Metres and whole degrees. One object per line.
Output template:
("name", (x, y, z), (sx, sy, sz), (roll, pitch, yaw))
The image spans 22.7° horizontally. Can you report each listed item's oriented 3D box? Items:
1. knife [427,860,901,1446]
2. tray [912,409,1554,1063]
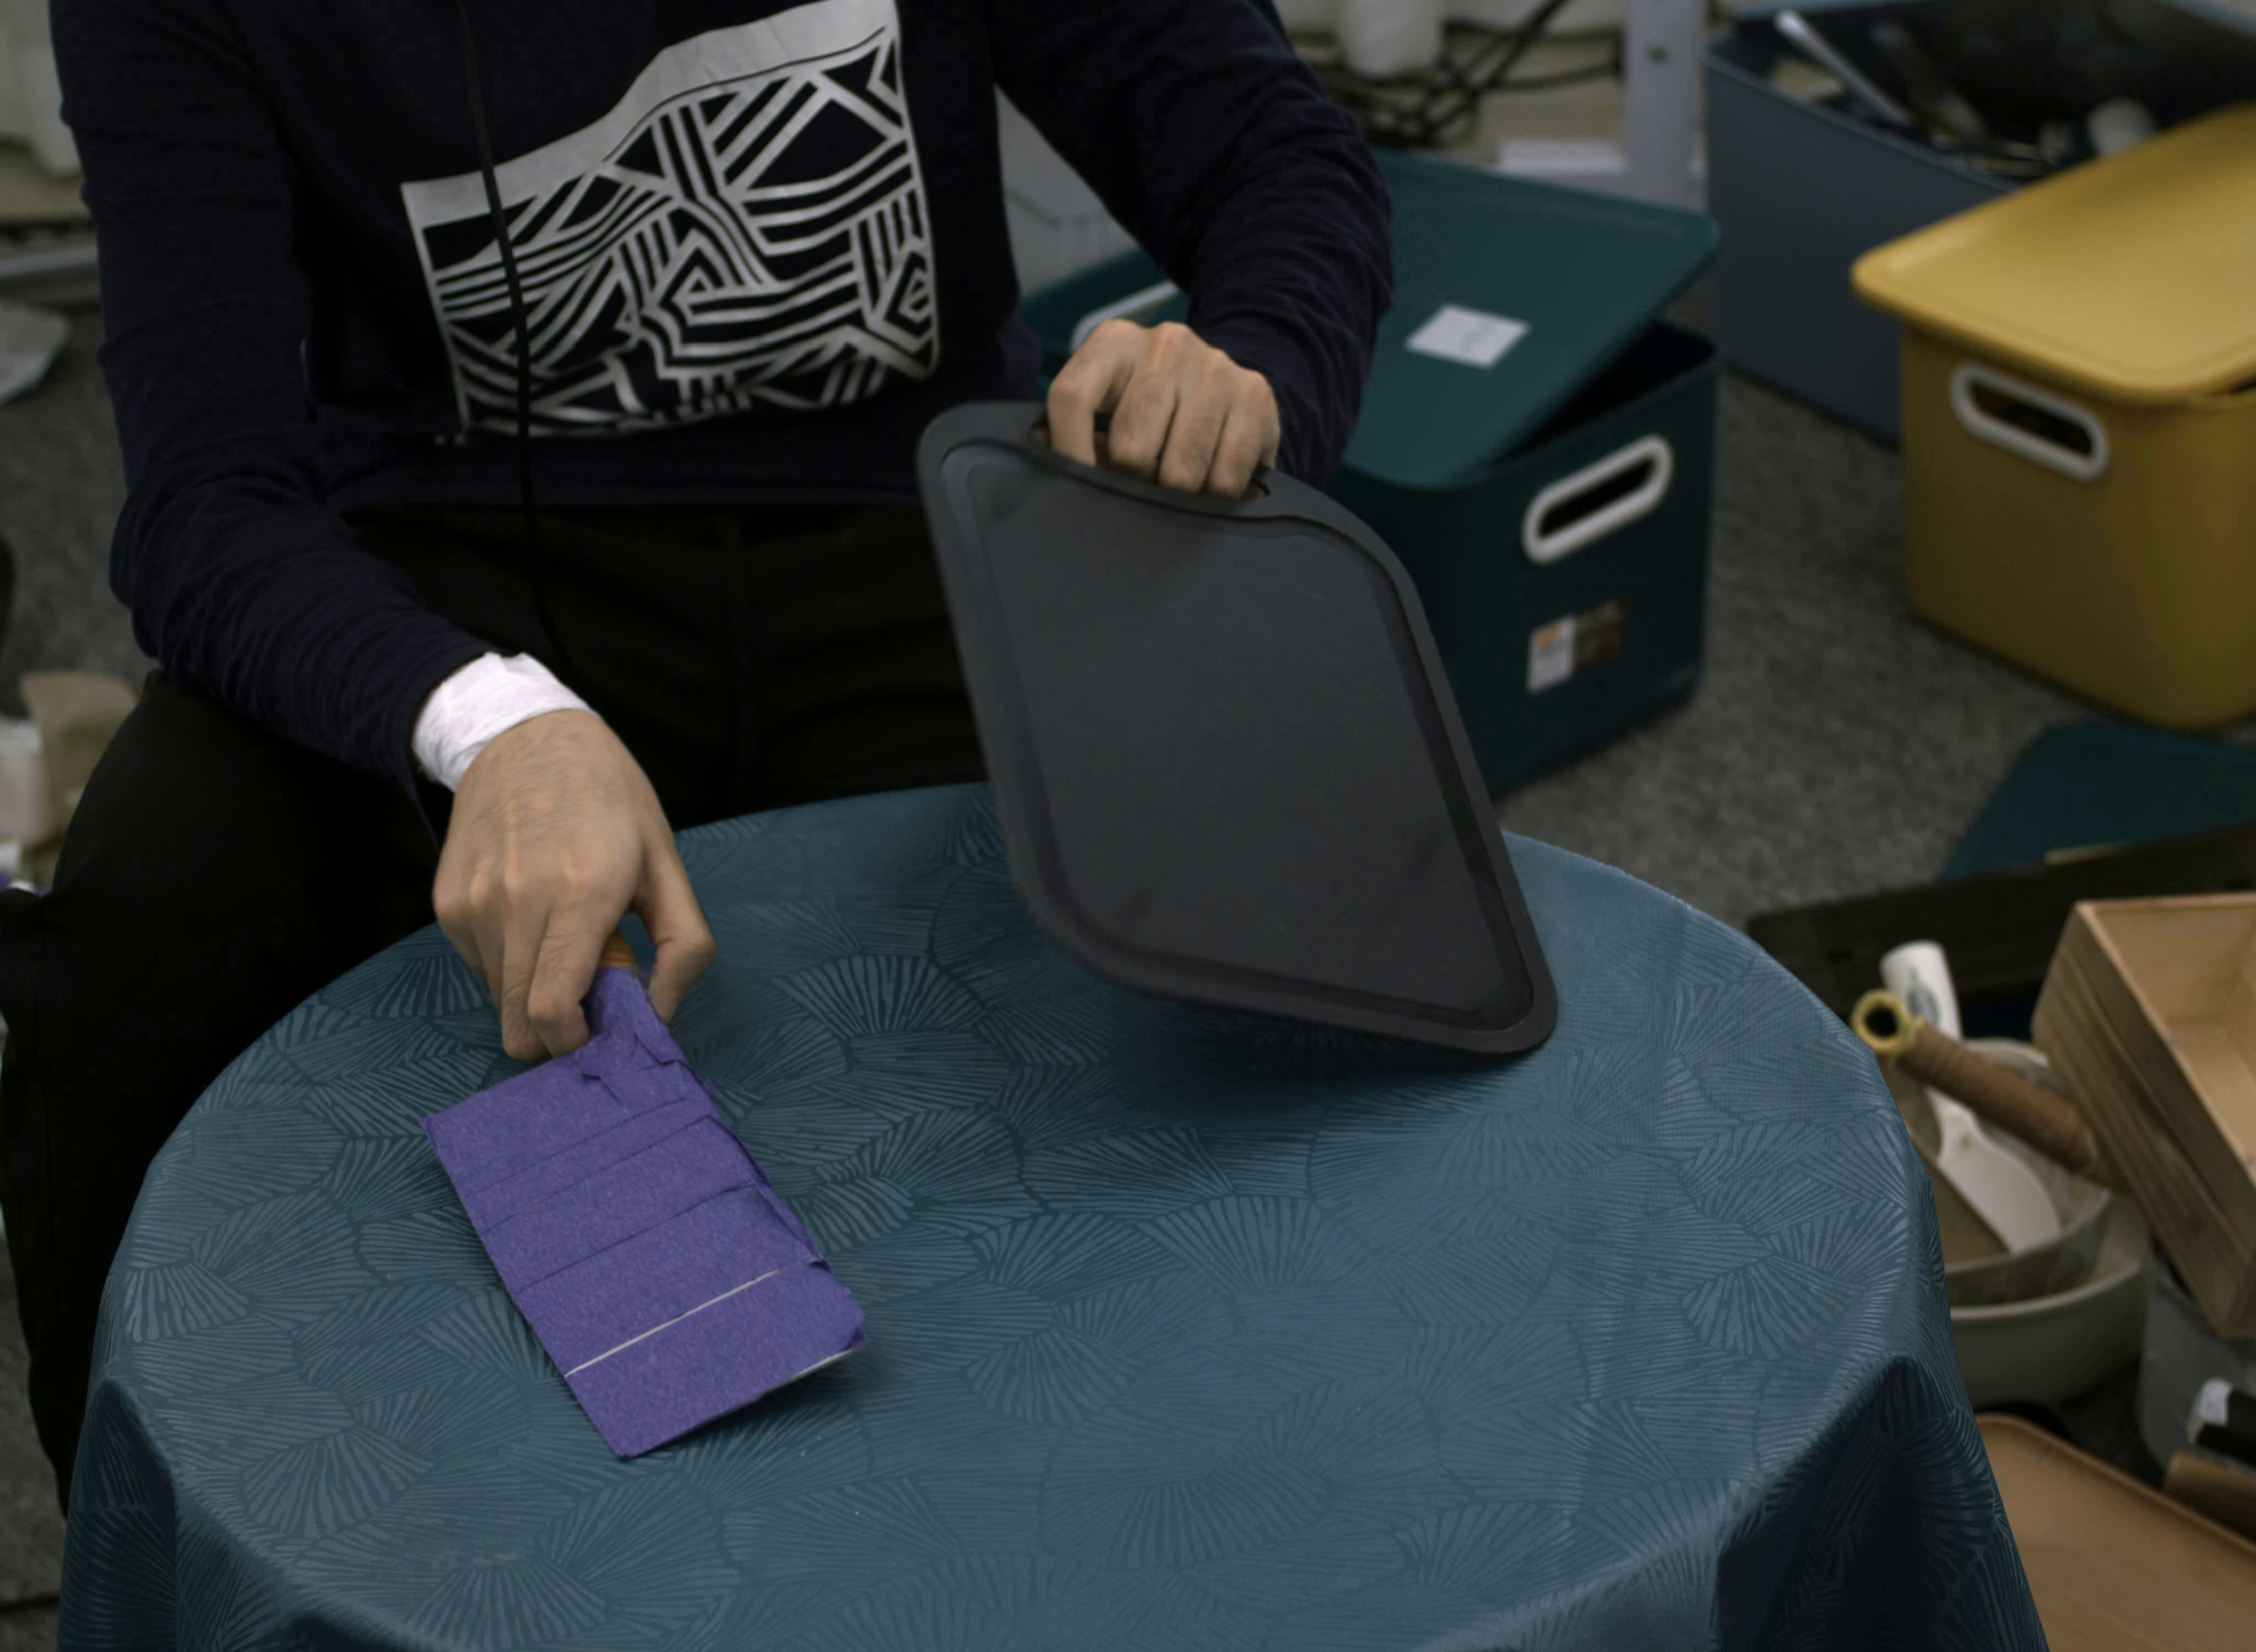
("knife", (-0.178, 0.103, 1.861), (0.104, 0.032, 0.317), (-23, 33, -14))
("tray", (0.033, -0.042, 2.008), (0.211, 0.009, 0.331), (11, 39, -23))
